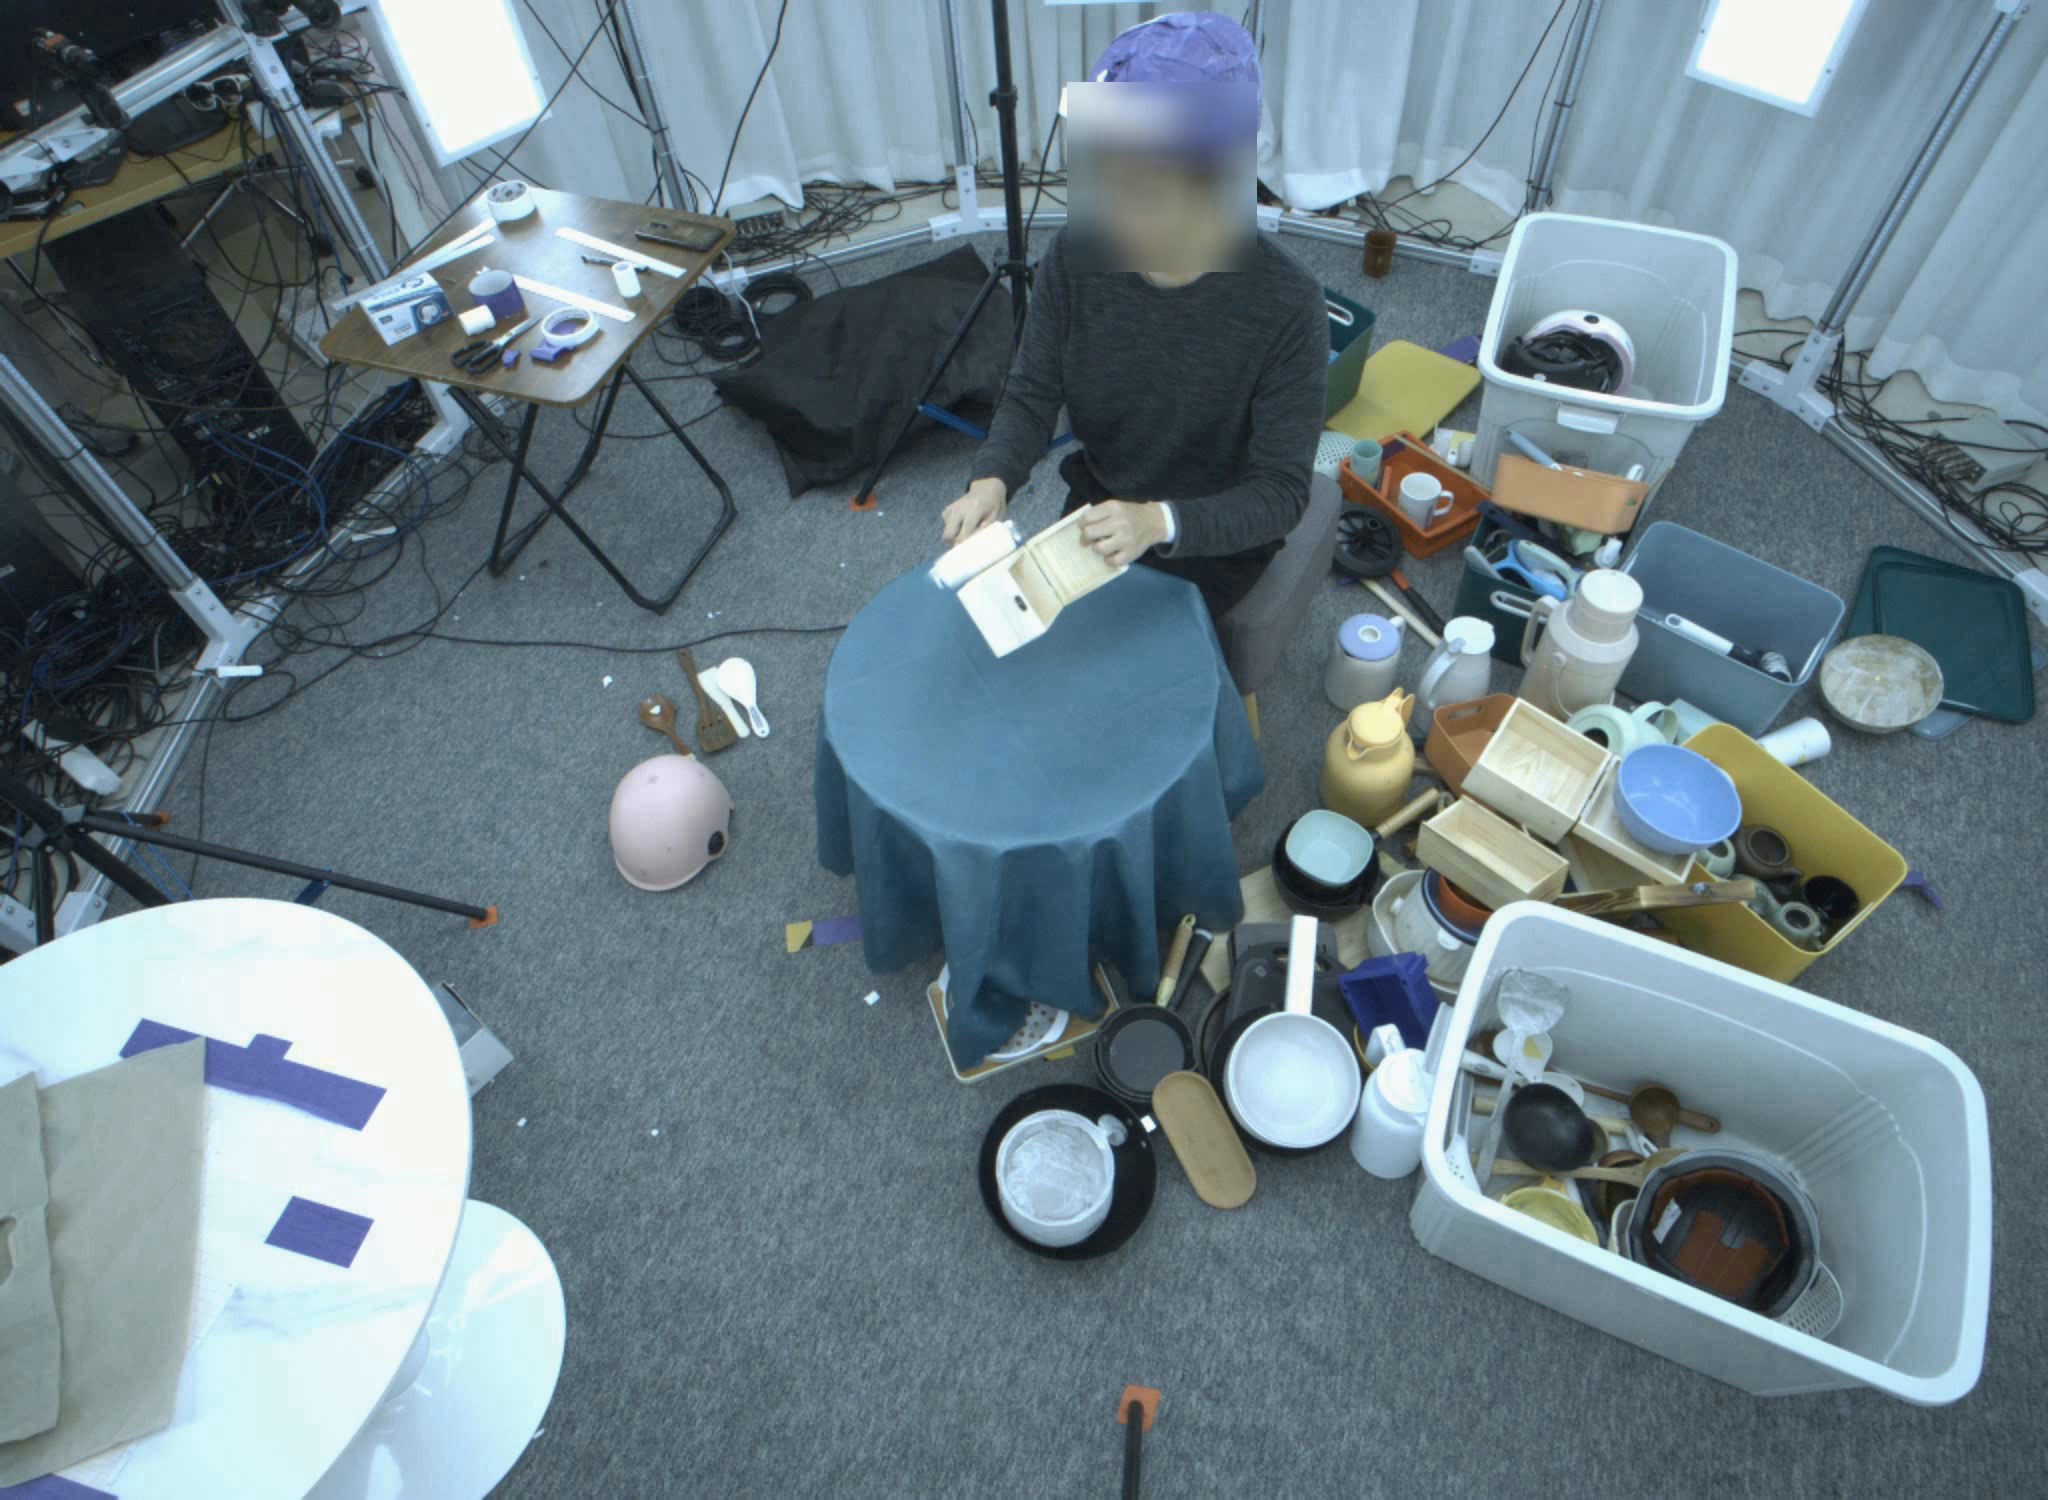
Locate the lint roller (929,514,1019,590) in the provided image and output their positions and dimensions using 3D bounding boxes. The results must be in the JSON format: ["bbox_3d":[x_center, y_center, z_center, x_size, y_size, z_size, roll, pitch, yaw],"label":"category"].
[{"bbox_3d":[-0.078,-0.298,1.692,0.132,0.051,0.178,-30,38,11],"label":"lint roller"}]

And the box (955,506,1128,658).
[{"bbox_3d":[0.025,-0.222,1.616,0.182,0.103,0.134,-26,16,25],"label":"box"}]
